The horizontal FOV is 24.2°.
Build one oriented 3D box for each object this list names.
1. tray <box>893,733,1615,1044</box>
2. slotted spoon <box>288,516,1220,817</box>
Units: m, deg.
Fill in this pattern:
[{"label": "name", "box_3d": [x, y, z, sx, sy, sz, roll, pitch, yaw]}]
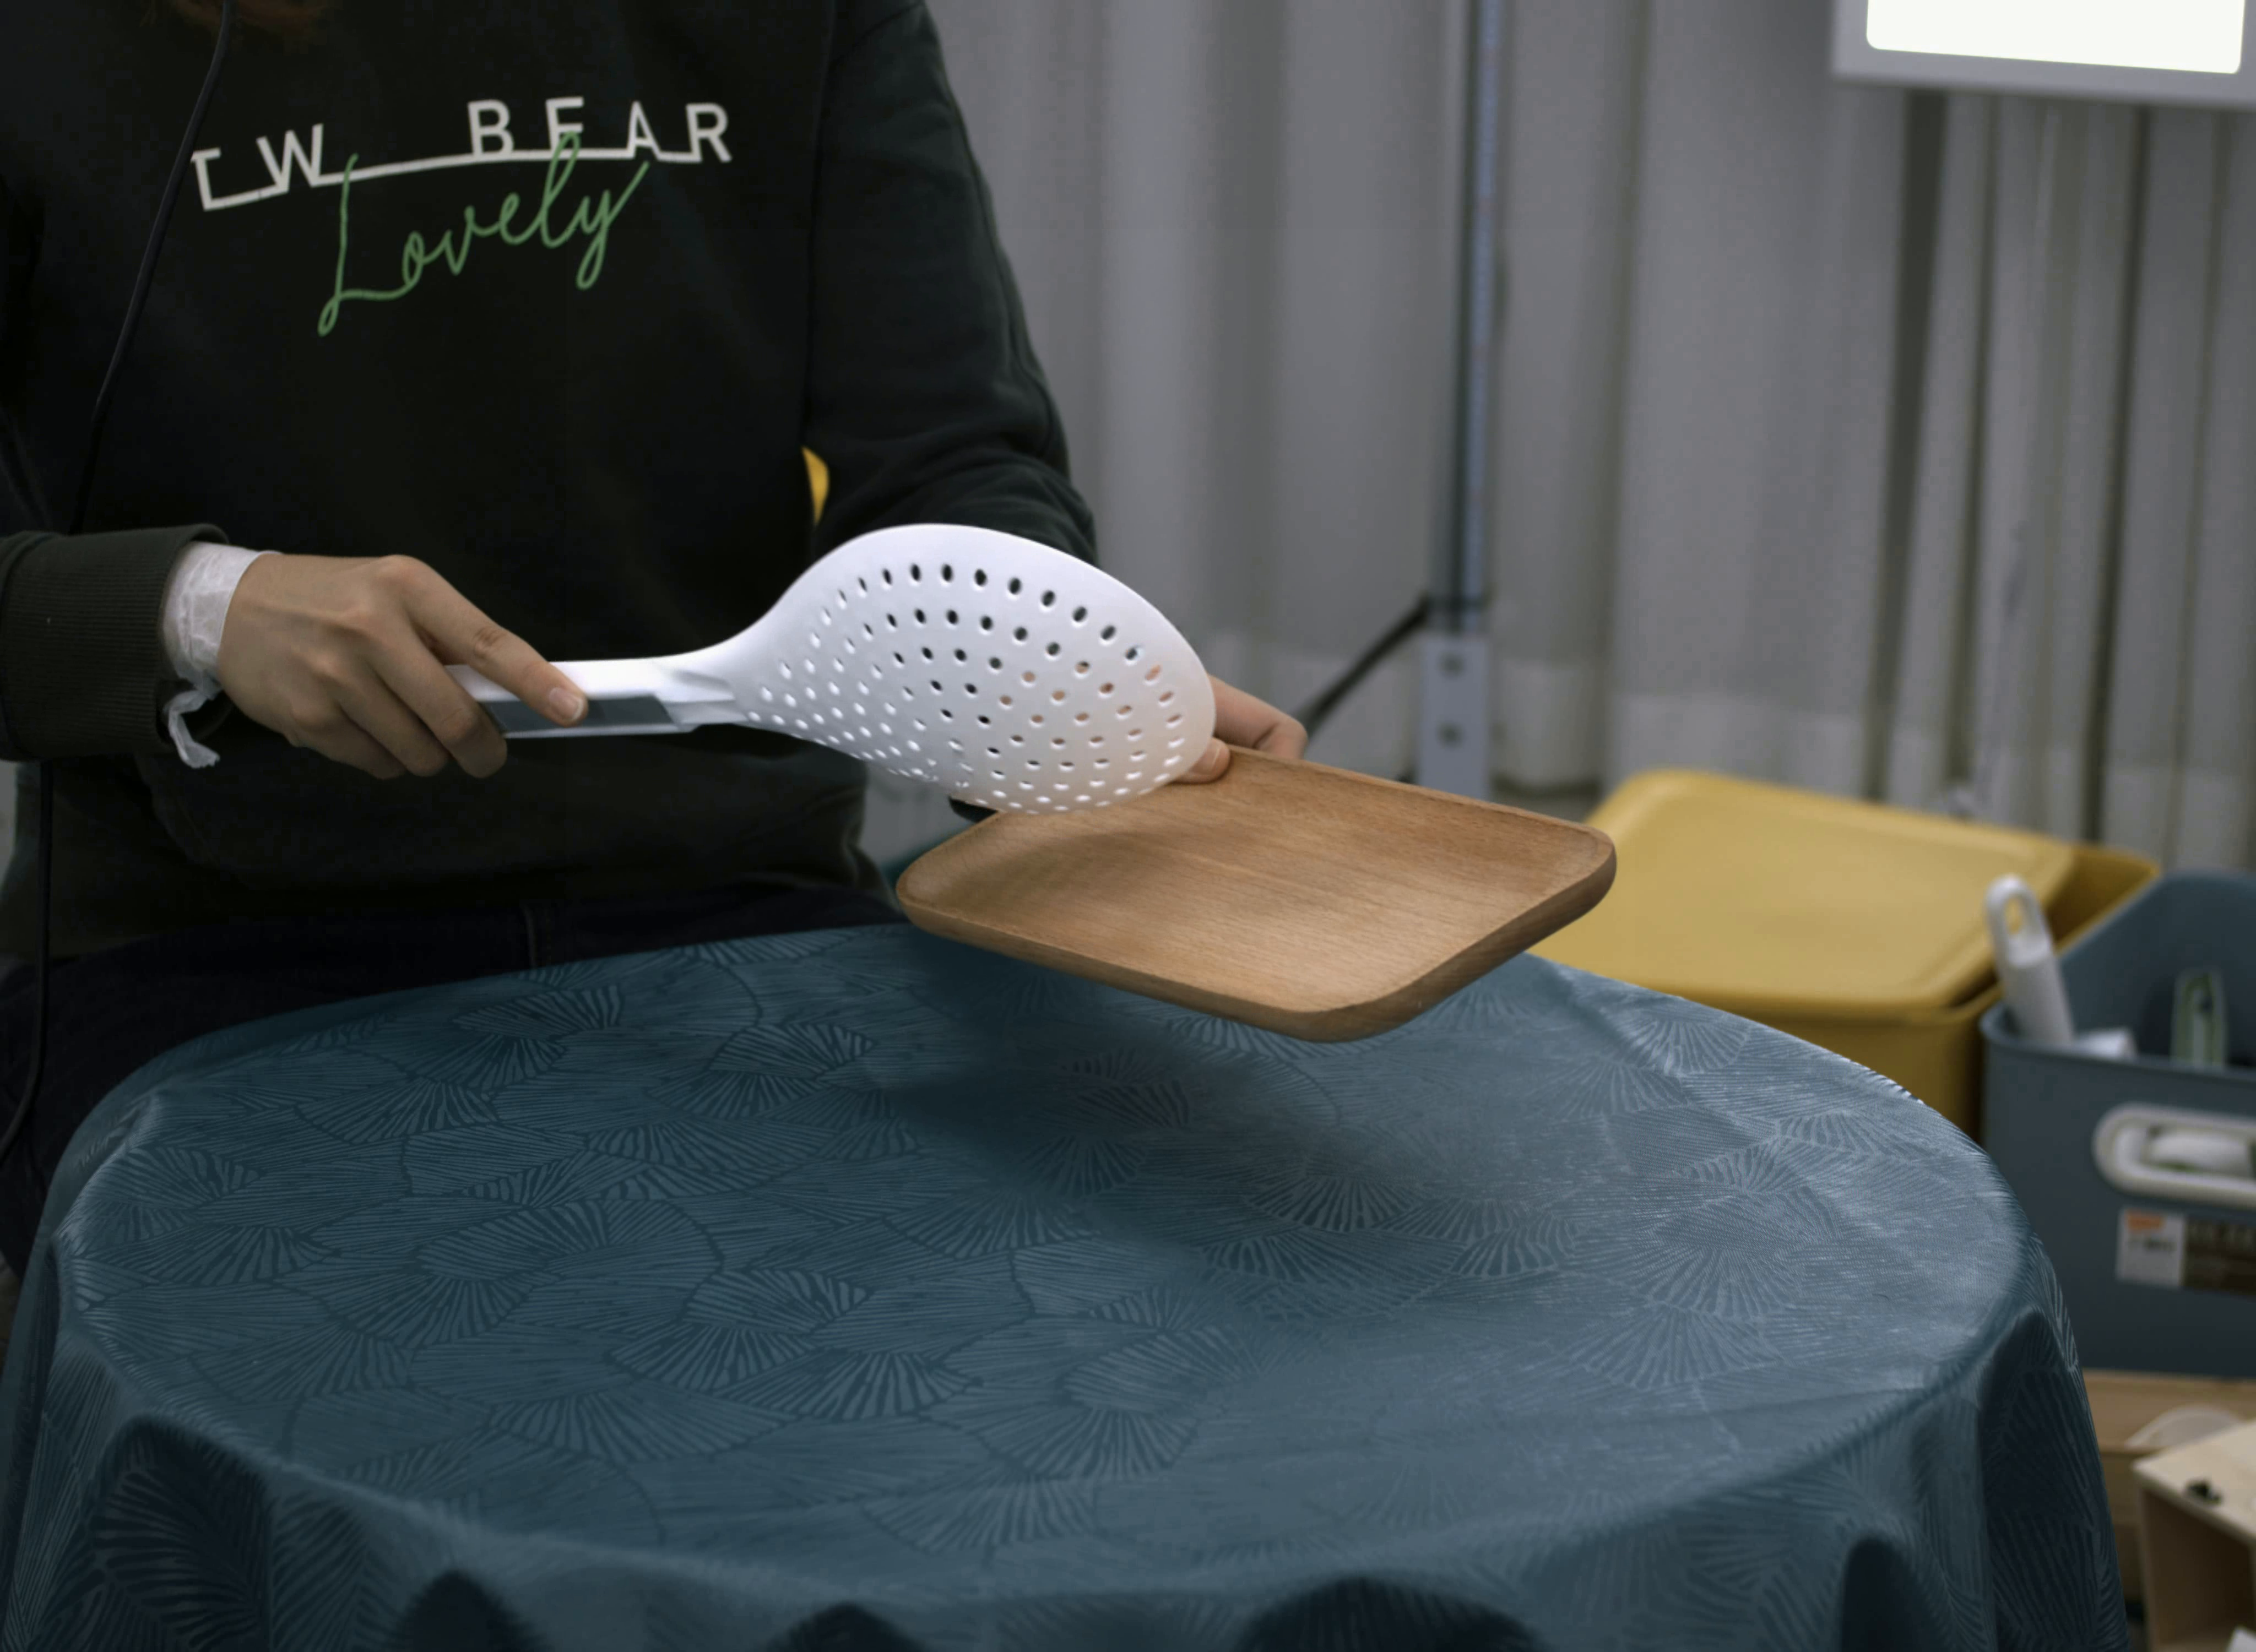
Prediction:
[{"label": "tray", "box_3d": [0.036, 0.018, 1.650, 0.131, 0.023, 0.247, -27, 23, -30]}, {"label": "slotted spoon", "box_3d": [-0.131, -0.044, 1.717, 0.346, 0.138, 0.045, 3, 53, 31]}]
